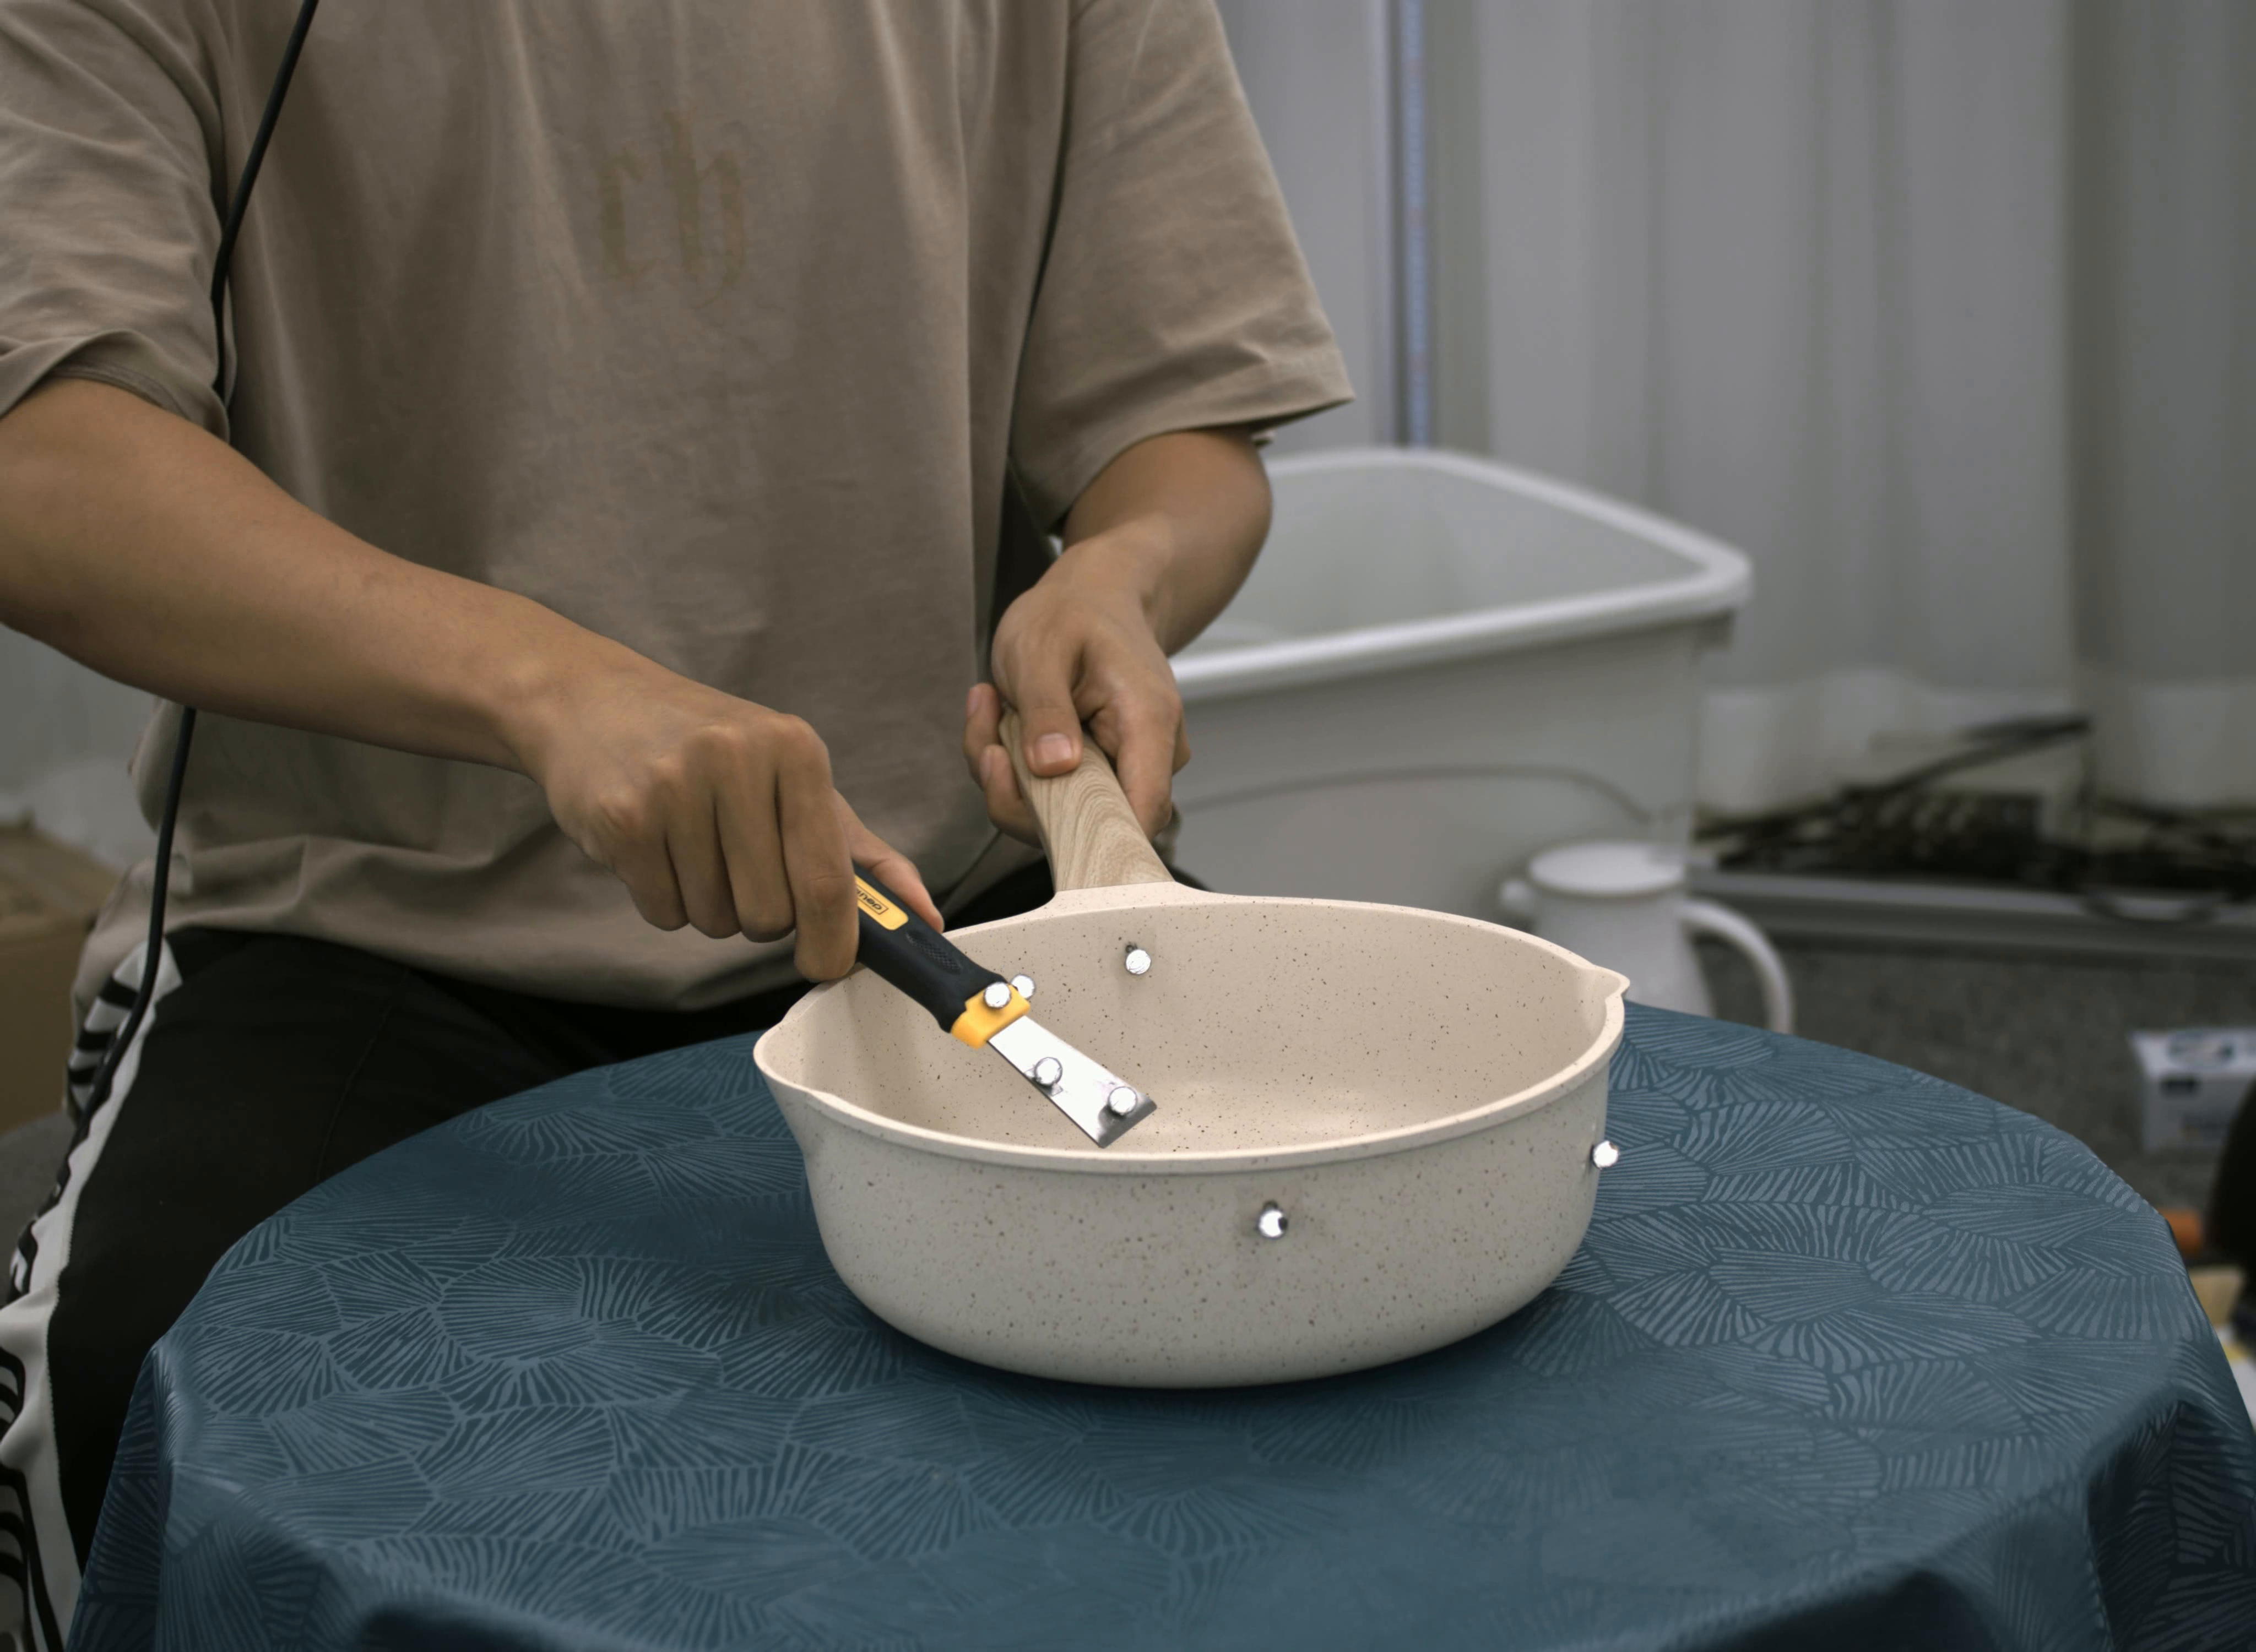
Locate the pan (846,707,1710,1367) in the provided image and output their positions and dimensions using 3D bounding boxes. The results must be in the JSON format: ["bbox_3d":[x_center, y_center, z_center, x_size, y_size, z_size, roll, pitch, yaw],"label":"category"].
[{"bbox_3d":[0.032,0.060,1.715,0.262,0.101,0.438,-8,15,-8],"label":"pan"}]

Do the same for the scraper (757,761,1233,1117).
[{"bbox_3d":[-0.044,0.035,1.664,0.171,0.015,0.039,37,41,13],"label":"scraper"}]
